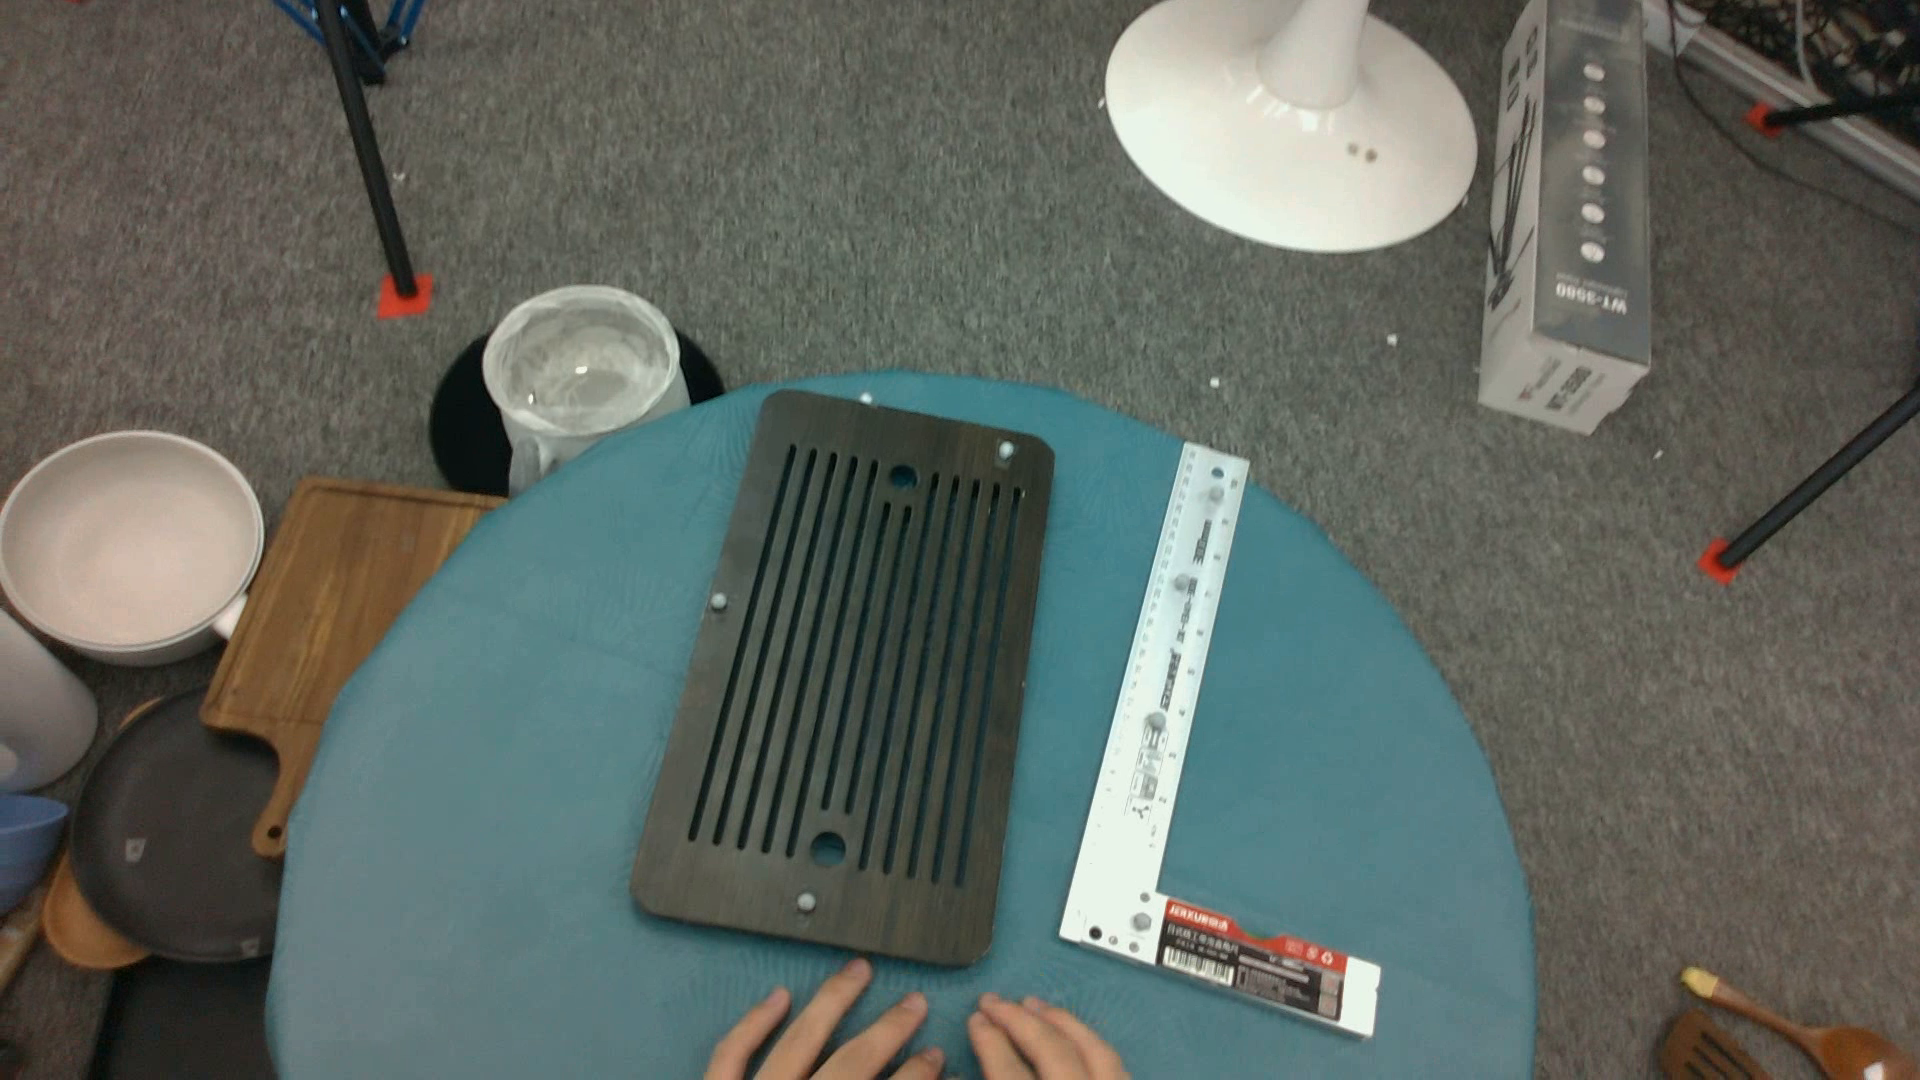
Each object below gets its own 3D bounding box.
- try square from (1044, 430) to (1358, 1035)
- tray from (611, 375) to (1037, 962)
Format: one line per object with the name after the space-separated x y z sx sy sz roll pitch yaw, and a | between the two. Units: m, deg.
0.152 0.085 0.731 0.152 0.016 0.314 18 58 1 | try square
-0.059 0.053 0.711 0.170 0.018 0.307 11 59 -3 | tray
